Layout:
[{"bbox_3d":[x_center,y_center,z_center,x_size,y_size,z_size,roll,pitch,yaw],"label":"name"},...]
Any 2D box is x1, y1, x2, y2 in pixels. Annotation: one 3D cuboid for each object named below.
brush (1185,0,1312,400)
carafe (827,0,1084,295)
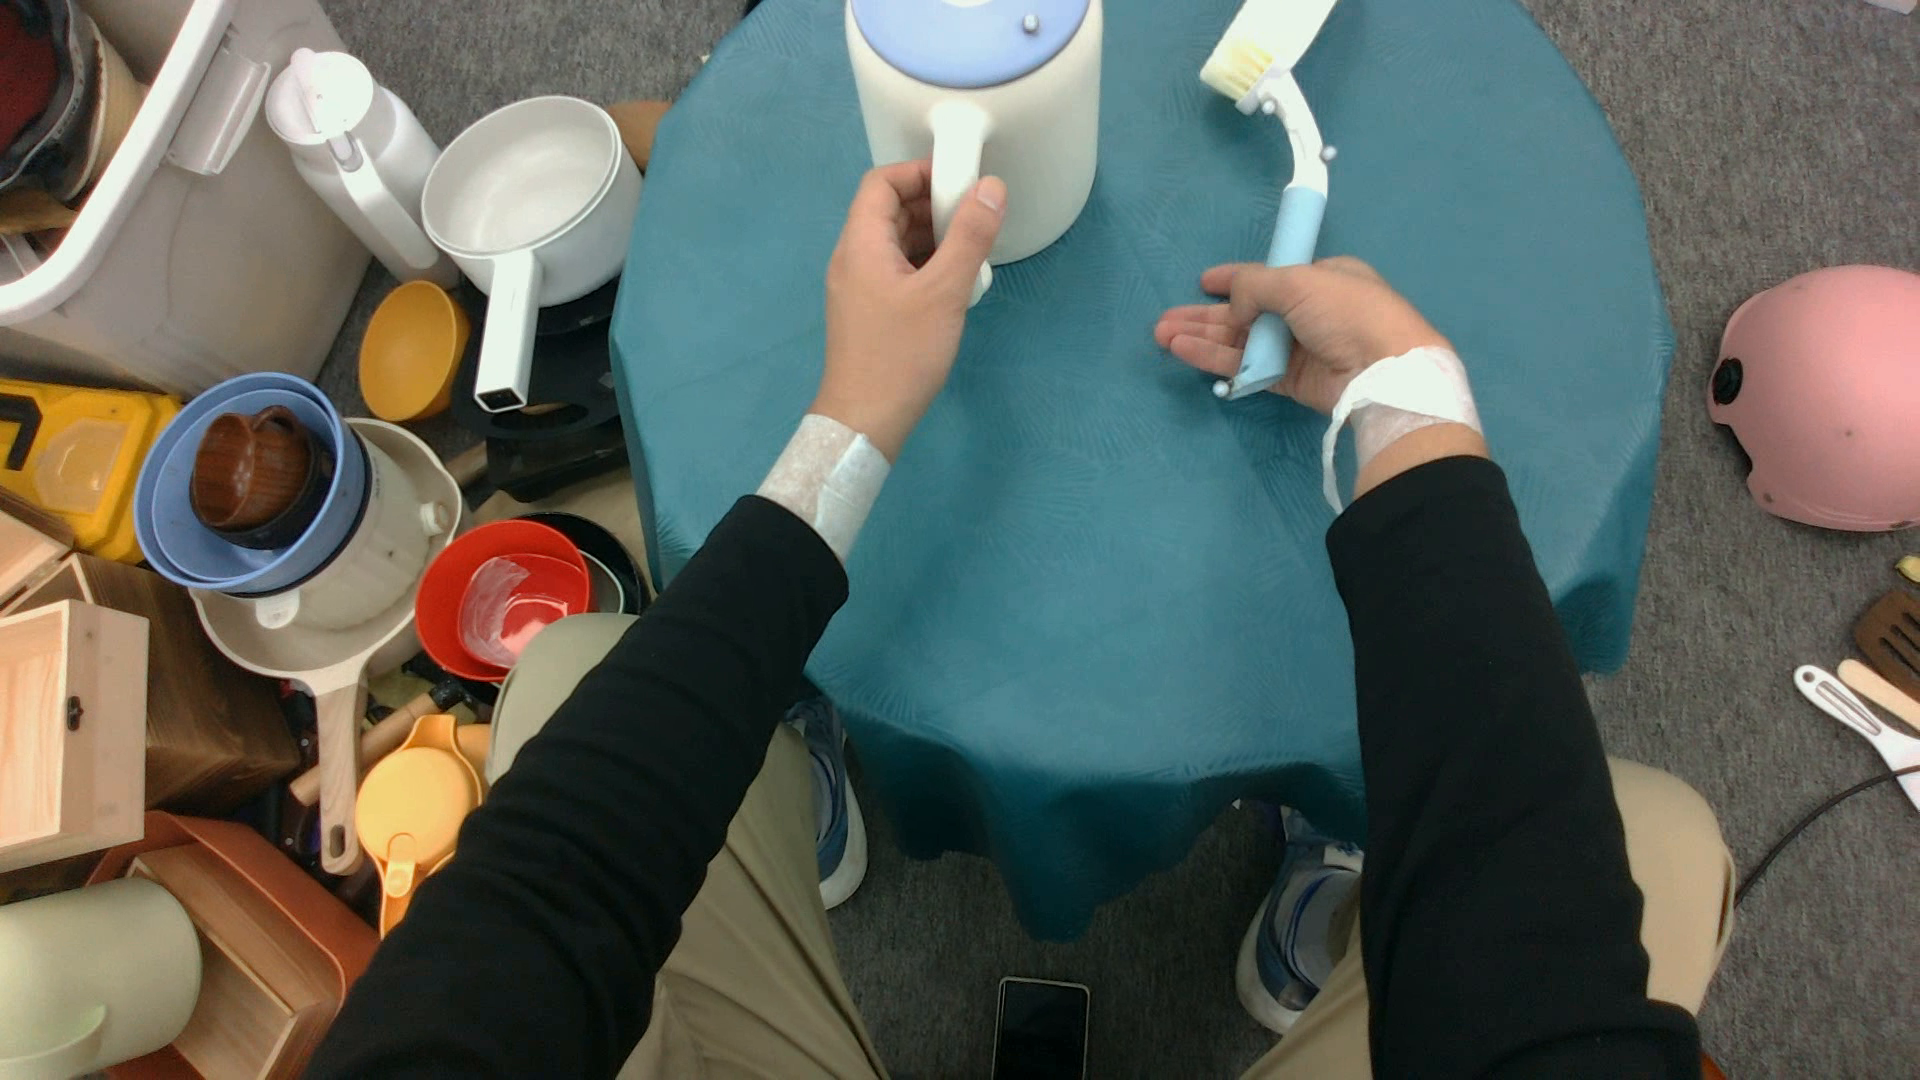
[{"bbox_3d":[0.153,-0.229,0.770,0.084,0.083,0.326,6,65,26],"label":"brush"},{"bbox_3d":[-0.002,-0.230,0.743,0.132,0.182,0.191,2,74,4],"label":"carafe"}]
